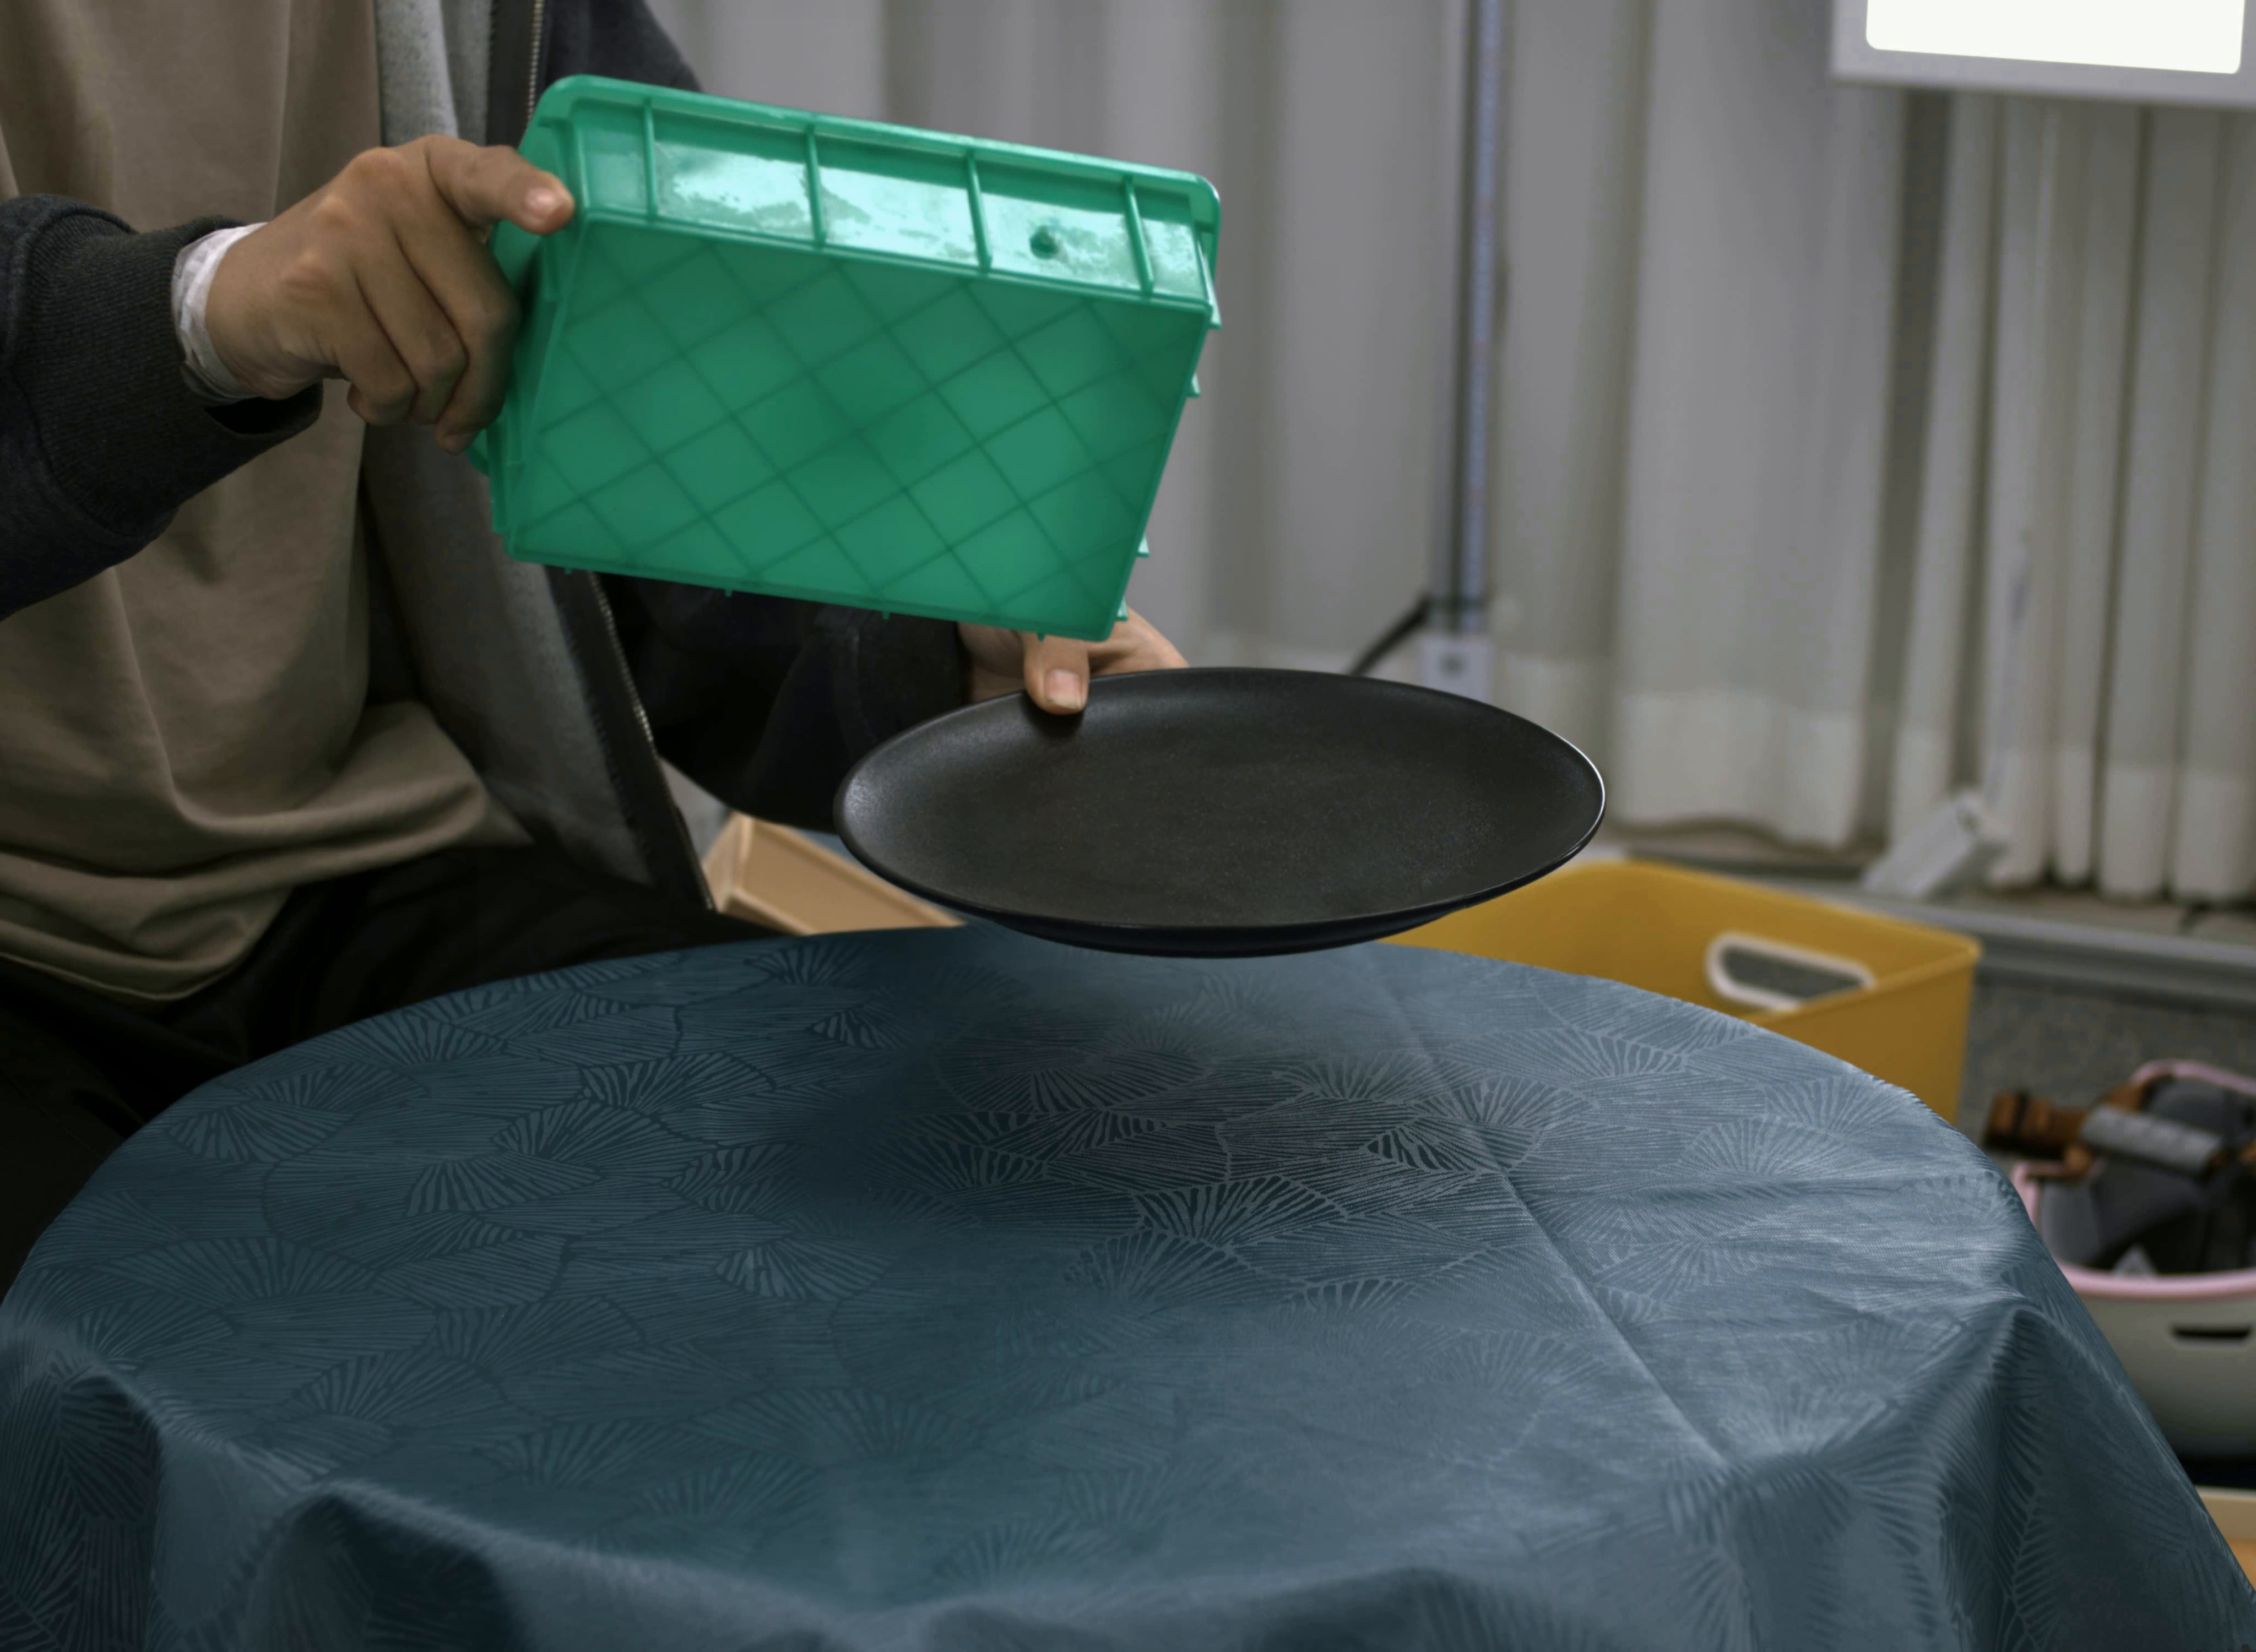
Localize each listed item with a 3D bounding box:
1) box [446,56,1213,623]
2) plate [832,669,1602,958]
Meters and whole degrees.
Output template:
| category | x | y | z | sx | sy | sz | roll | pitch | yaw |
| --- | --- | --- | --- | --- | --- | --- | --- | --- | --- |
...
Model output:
| category | x | y | z | sx | sy | sz | roll | pitch | yaw |
| --- | --- | --- | --- | --- | --- | --- | --- | --- | --- |
| box | -0.082 | -0.132 | 1.495 | 0.211 | 0.140 | 0.064 | 6 | 37 | -19 |
| plate | 0.028 | -0.002 | 1.663 | 0.243 | 0.023 | 0.243 | -1 | 21 | 1 |
